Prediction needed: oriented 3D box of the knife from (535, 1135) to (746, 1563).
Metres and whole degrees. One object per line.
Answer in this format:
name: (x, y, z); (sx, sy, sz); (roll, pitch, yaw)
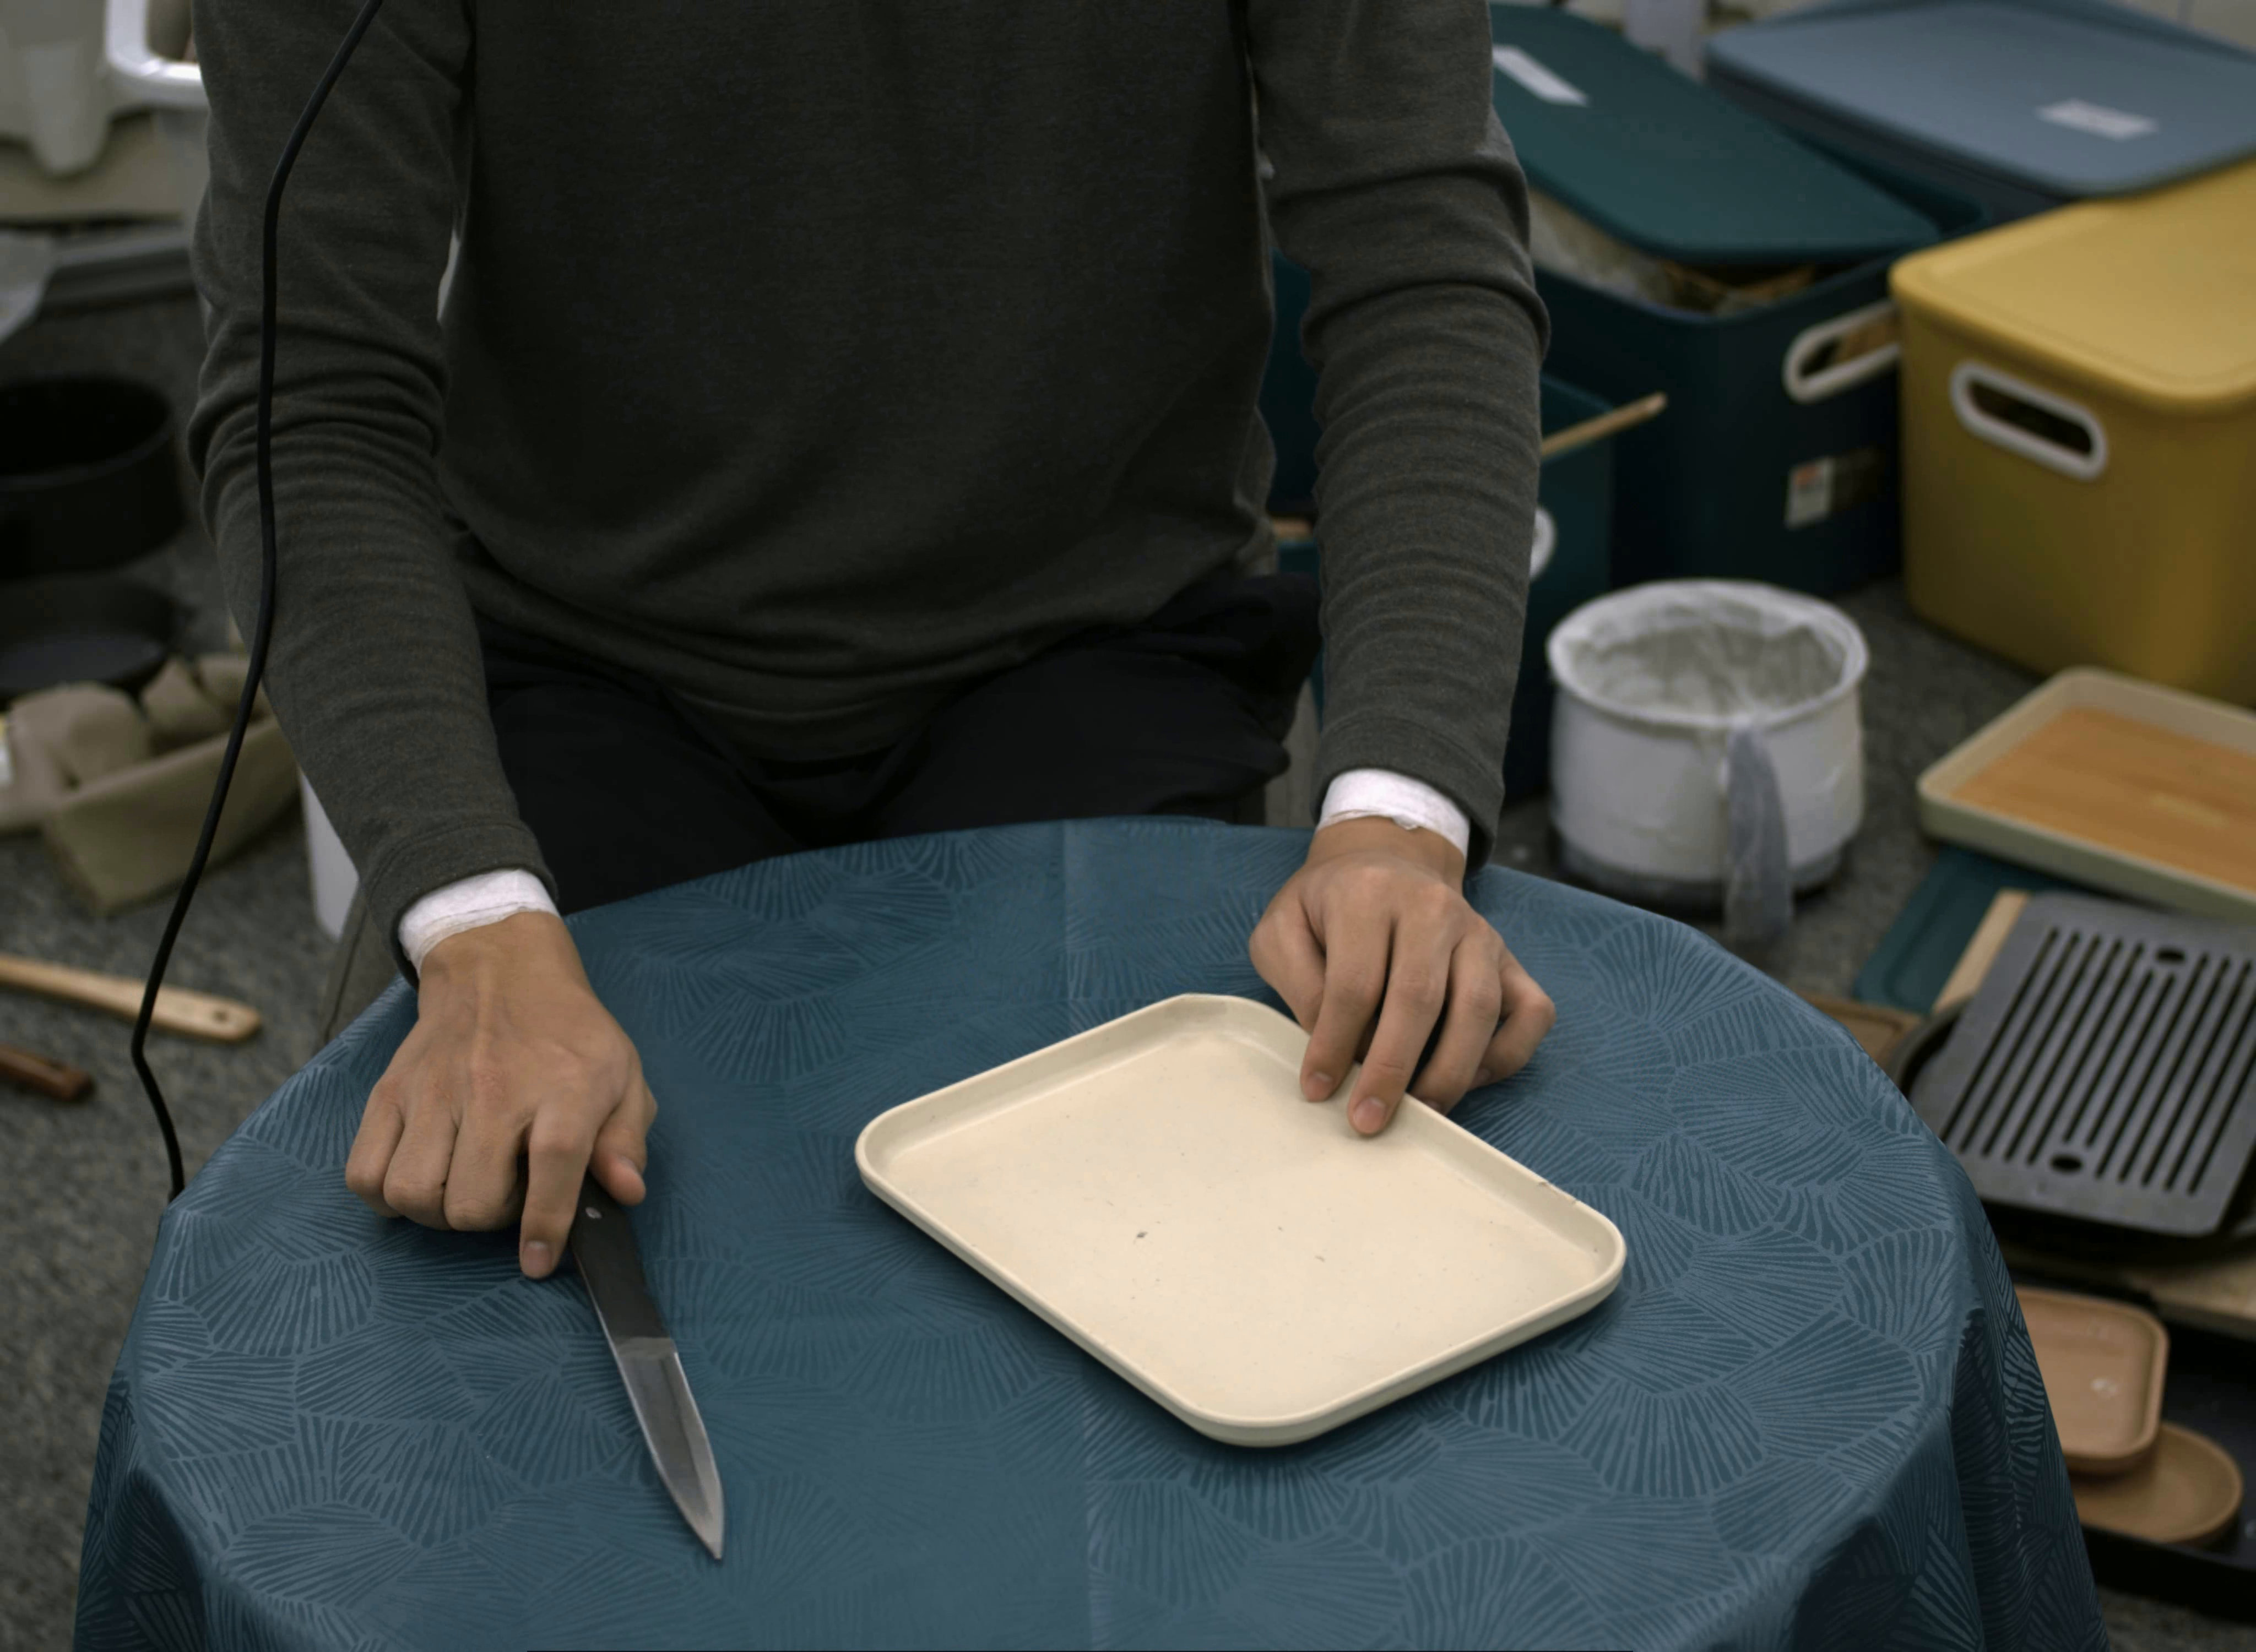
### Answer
knife: (-0.155, 0.164, 1.777); (0.024, 0.016, 0.240); (7, 26, -24)

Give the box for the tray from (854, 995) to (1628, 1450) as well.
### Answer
tray: (0.034, 0.127, 1.829); (0.173, 0.017, 0.240); (-21, 32, -30)
